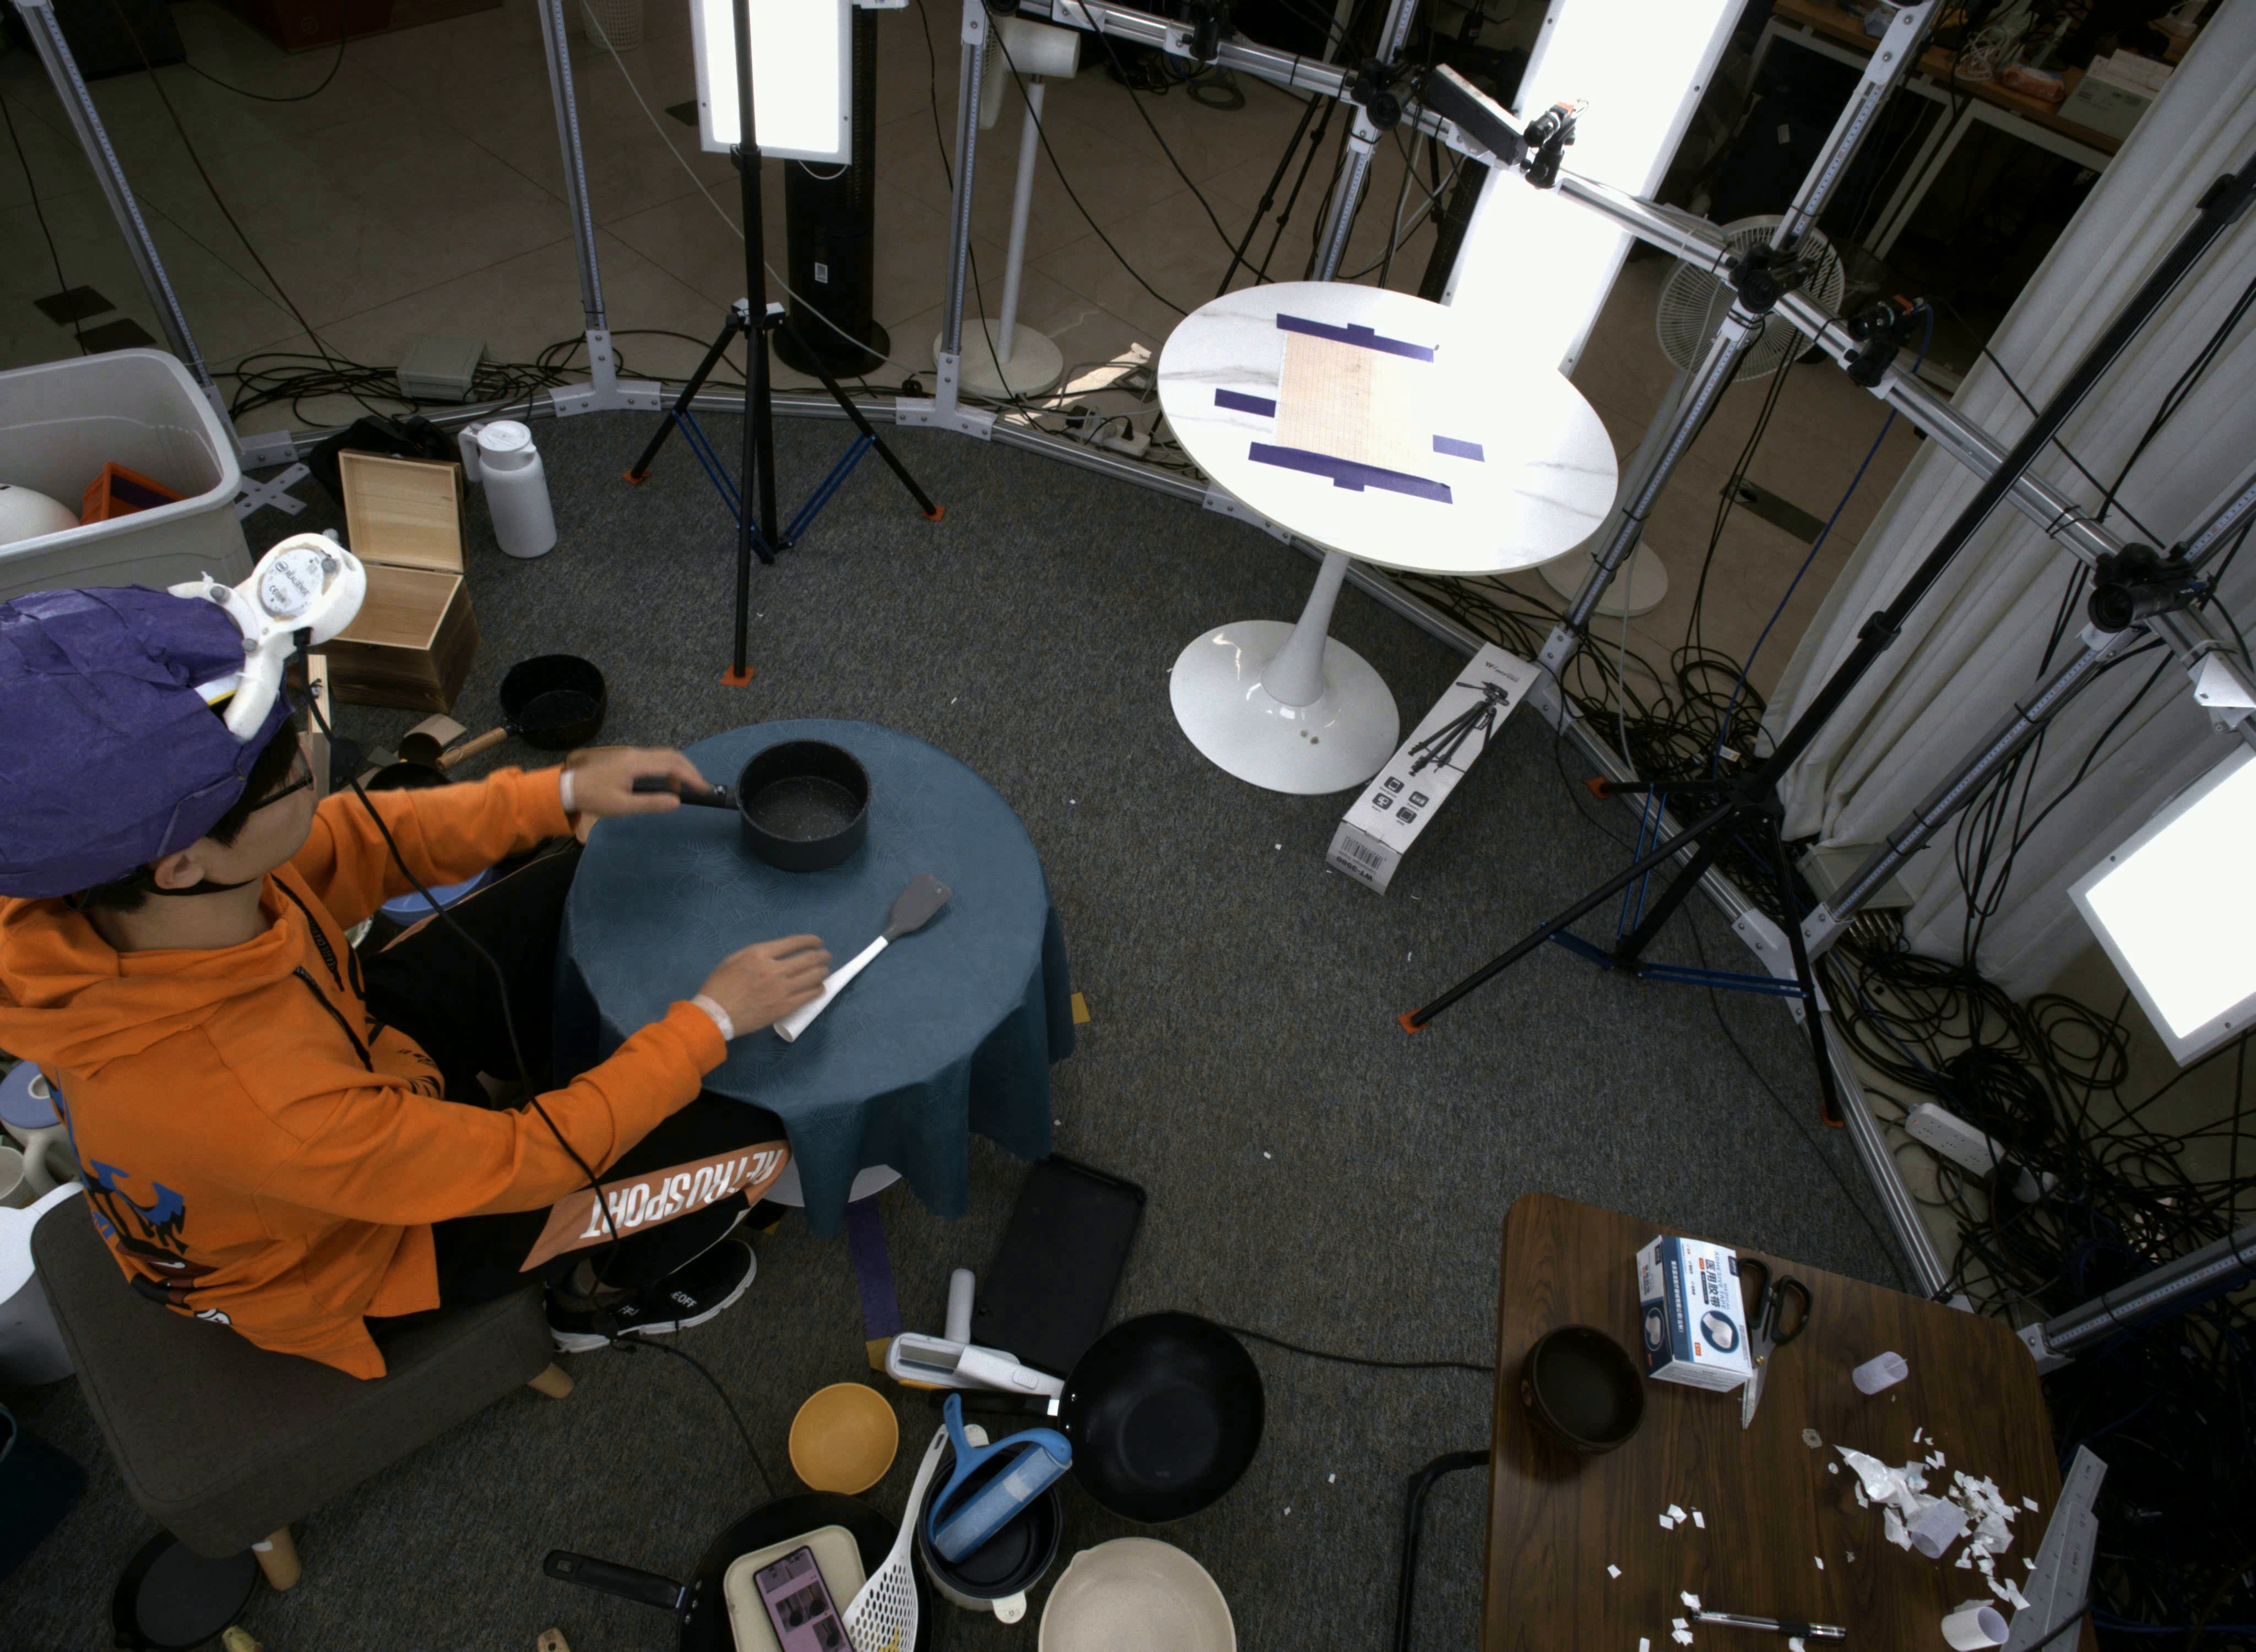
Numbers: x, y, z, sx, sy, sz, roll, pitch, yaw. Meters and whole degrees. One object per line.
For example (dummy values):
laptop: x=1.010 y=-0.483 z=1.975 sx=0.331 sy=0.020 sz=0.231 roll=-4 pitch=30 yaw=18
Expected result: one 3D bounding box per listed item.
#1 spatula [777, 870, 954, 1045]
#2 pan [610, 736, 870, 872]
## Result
spatula: x=-0.322 y=0.157 z=1.603 sx=0.057 sy=0.033 sz=0.287 roll=31 pitch=53 yaw=16
pan: x=-0.500 y=-0.033 z=1.664 sx=0.329 sy=0.088 sz=0.168 roll=4 pitch=52 yaw=-14
